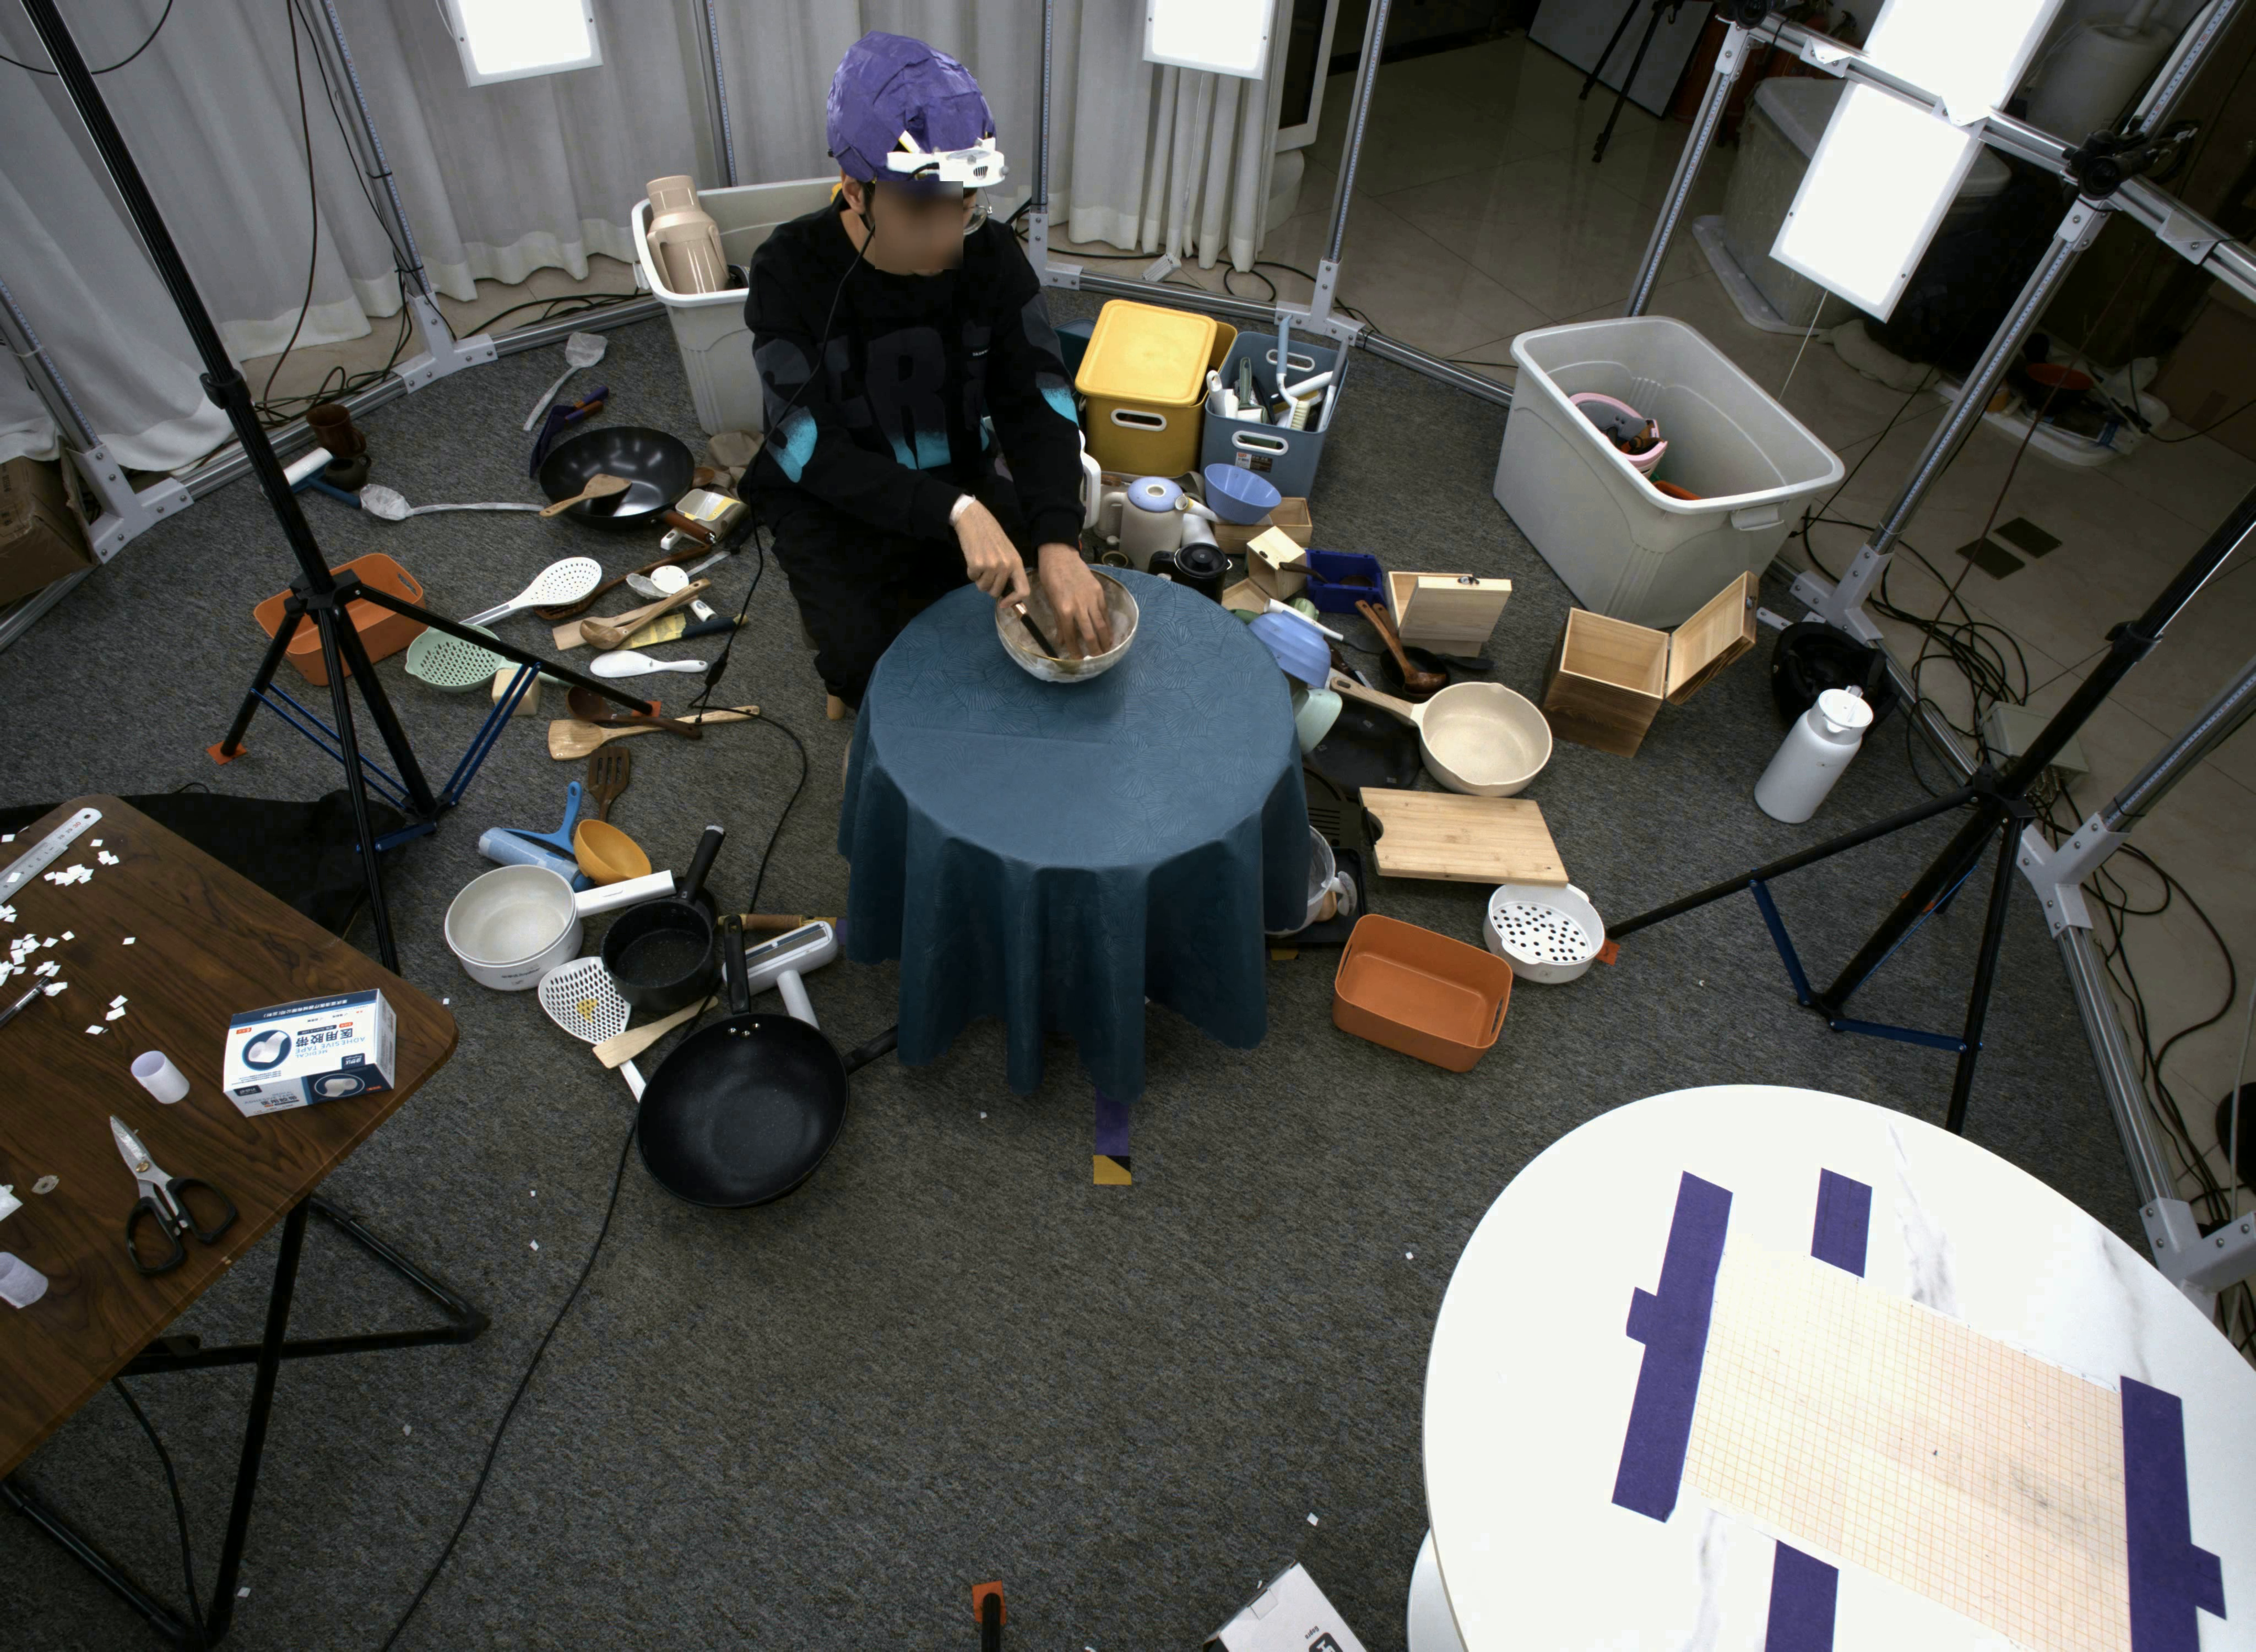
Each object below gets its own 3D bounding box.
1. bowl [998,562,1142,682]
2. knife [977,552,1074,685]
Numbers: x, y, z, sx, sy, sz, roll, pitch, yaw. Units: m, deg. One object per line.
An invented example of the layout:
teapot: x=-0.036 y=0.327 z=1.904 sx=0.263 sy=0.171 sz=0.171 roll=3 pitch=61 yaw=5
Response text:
bowl: x=-0.086 y=-0.279 z=1.842 sx=0.214 sy=0.092 sz=0.220 roll=2 pitch=51 yaw=-2
knife: x=-0.142 y=-0.292 z=1.809 sx=0.017 sy=0.026 sz=0.226 roll=-34 pitch=85 yaw=-32
